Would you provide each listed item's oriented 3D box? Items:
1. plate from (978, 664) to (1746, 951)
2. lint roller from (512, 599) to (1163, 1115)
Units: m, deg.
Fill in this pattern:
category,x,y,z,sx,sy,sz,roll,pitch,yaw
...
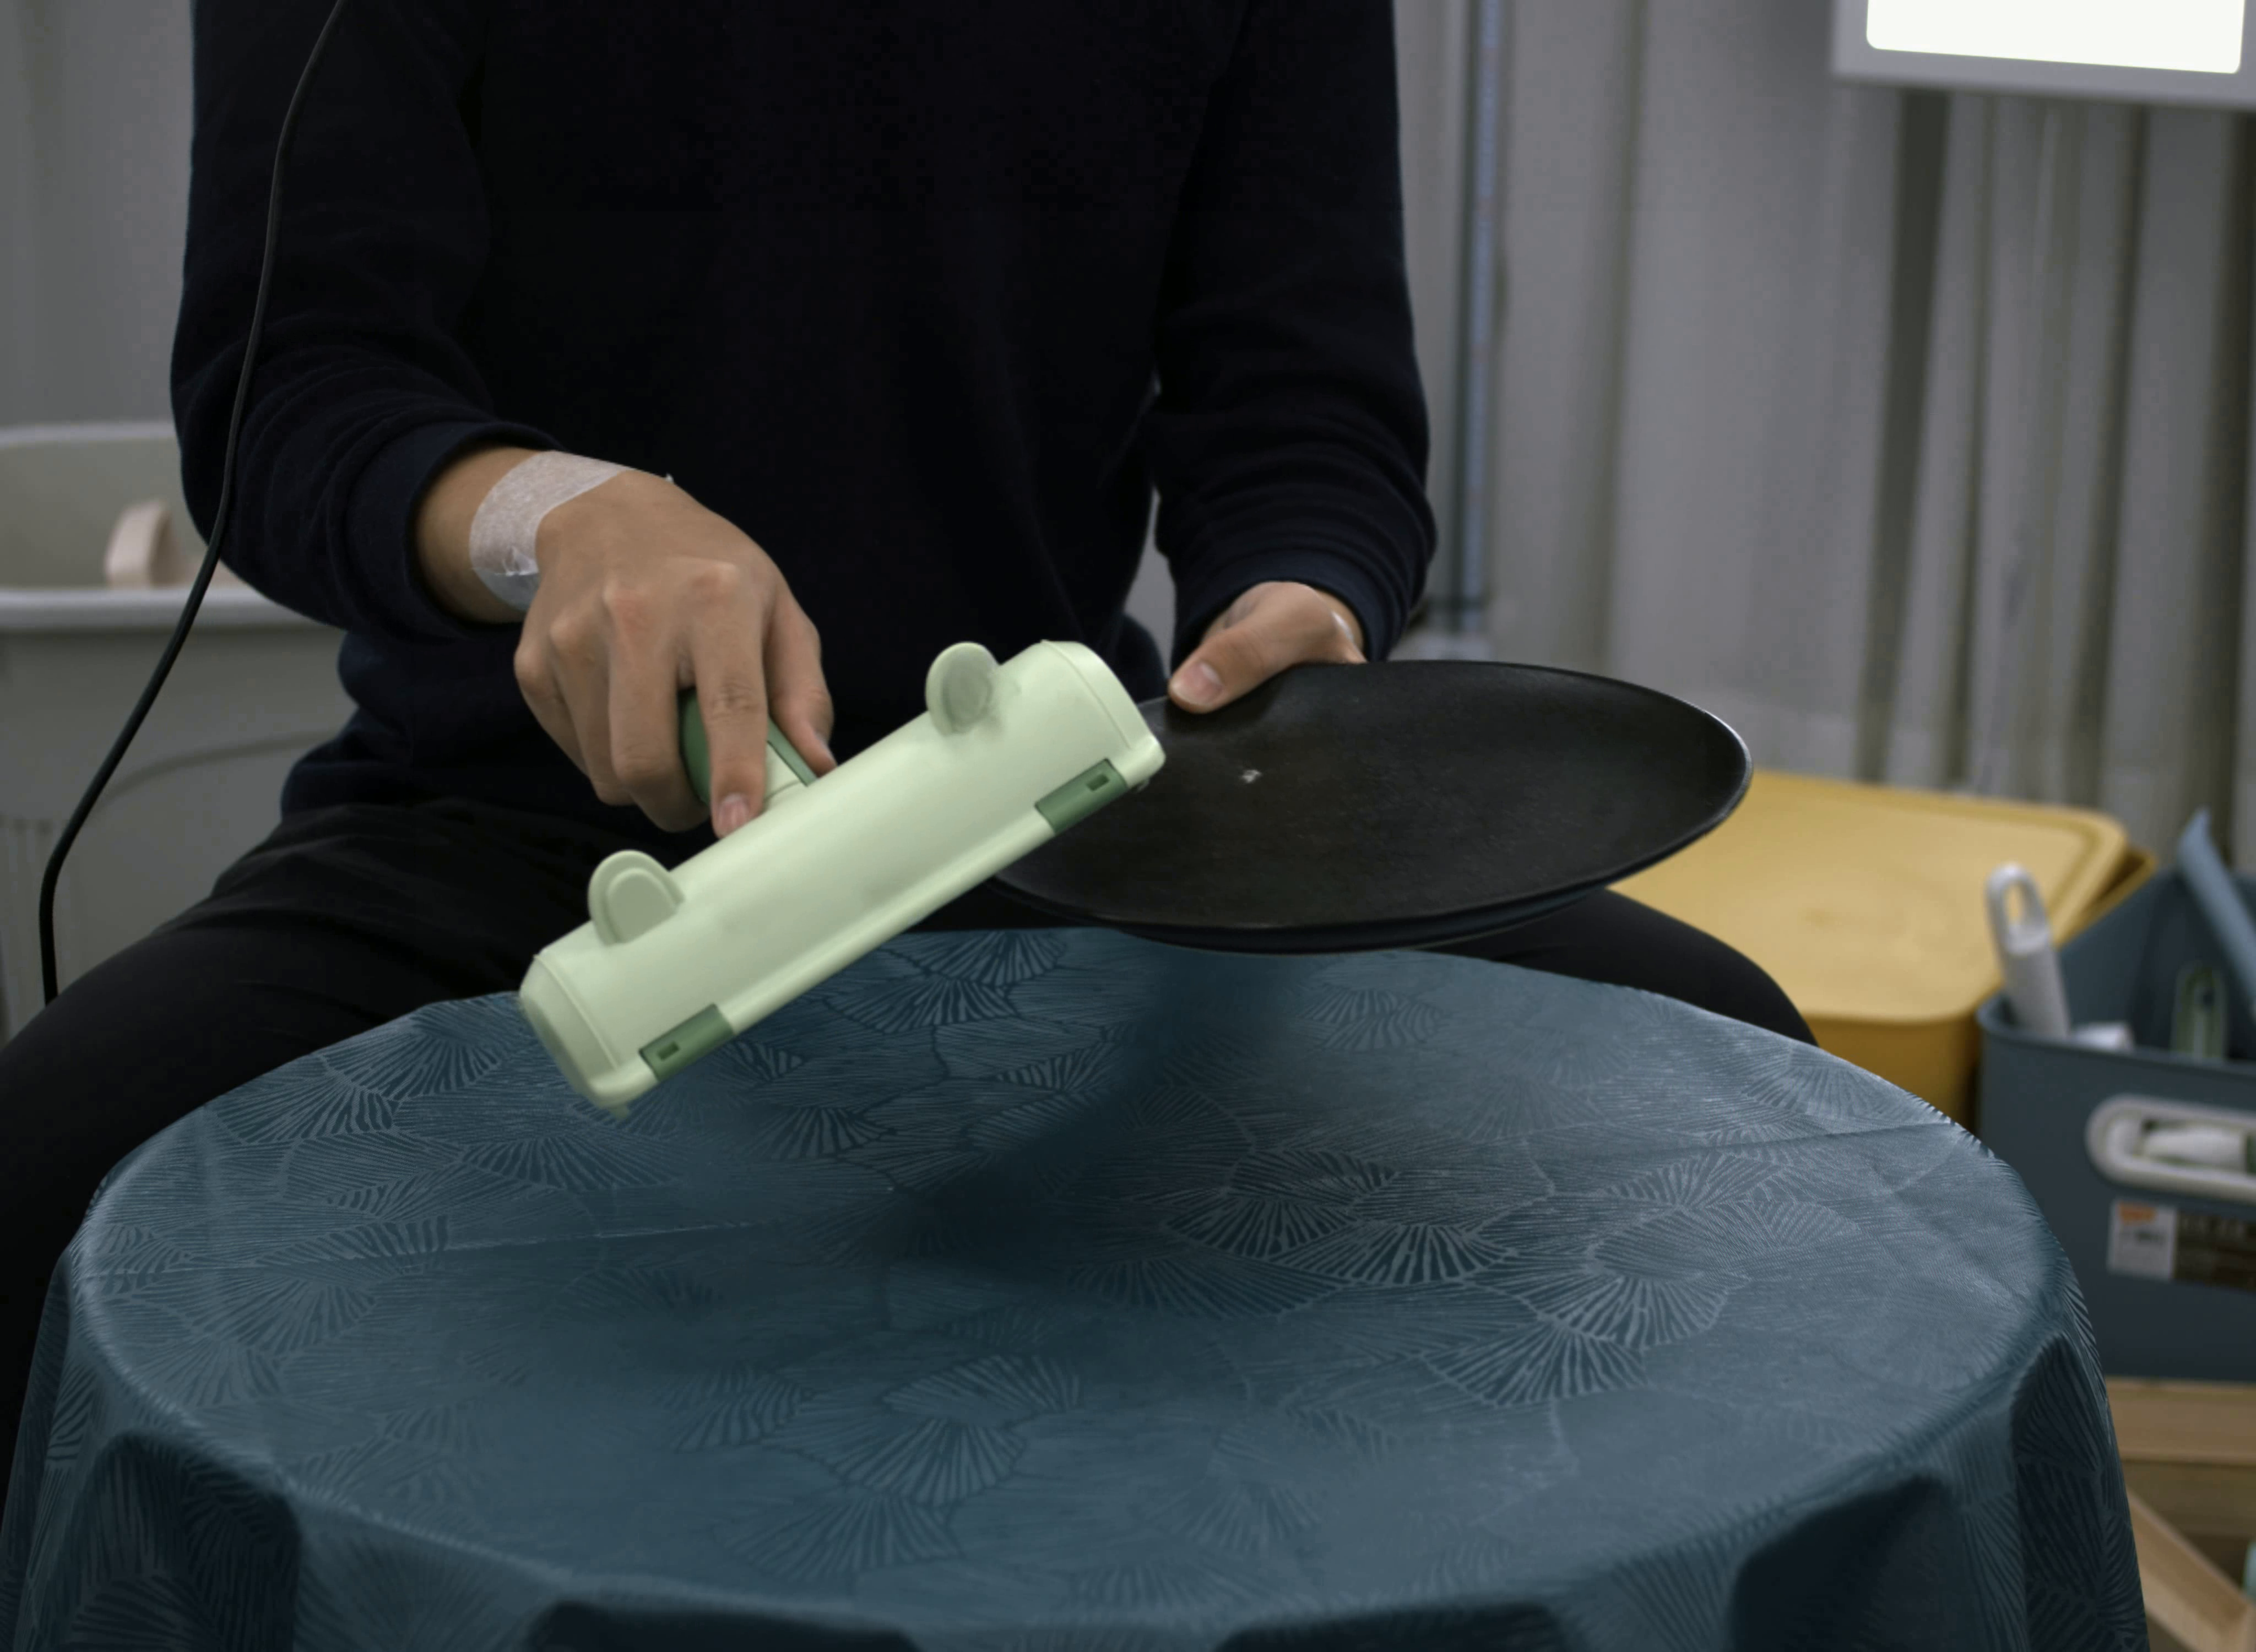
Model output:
category,x,y,z,sx,sy,sz,roll,pitch,yaw
plate,0.066,-0.004,1.595,0.243,0.023,0.243,-4,18,2
lint roller,-0.115,-0.026,1.546,0.198,0.083,0.181,-33,56,-13
